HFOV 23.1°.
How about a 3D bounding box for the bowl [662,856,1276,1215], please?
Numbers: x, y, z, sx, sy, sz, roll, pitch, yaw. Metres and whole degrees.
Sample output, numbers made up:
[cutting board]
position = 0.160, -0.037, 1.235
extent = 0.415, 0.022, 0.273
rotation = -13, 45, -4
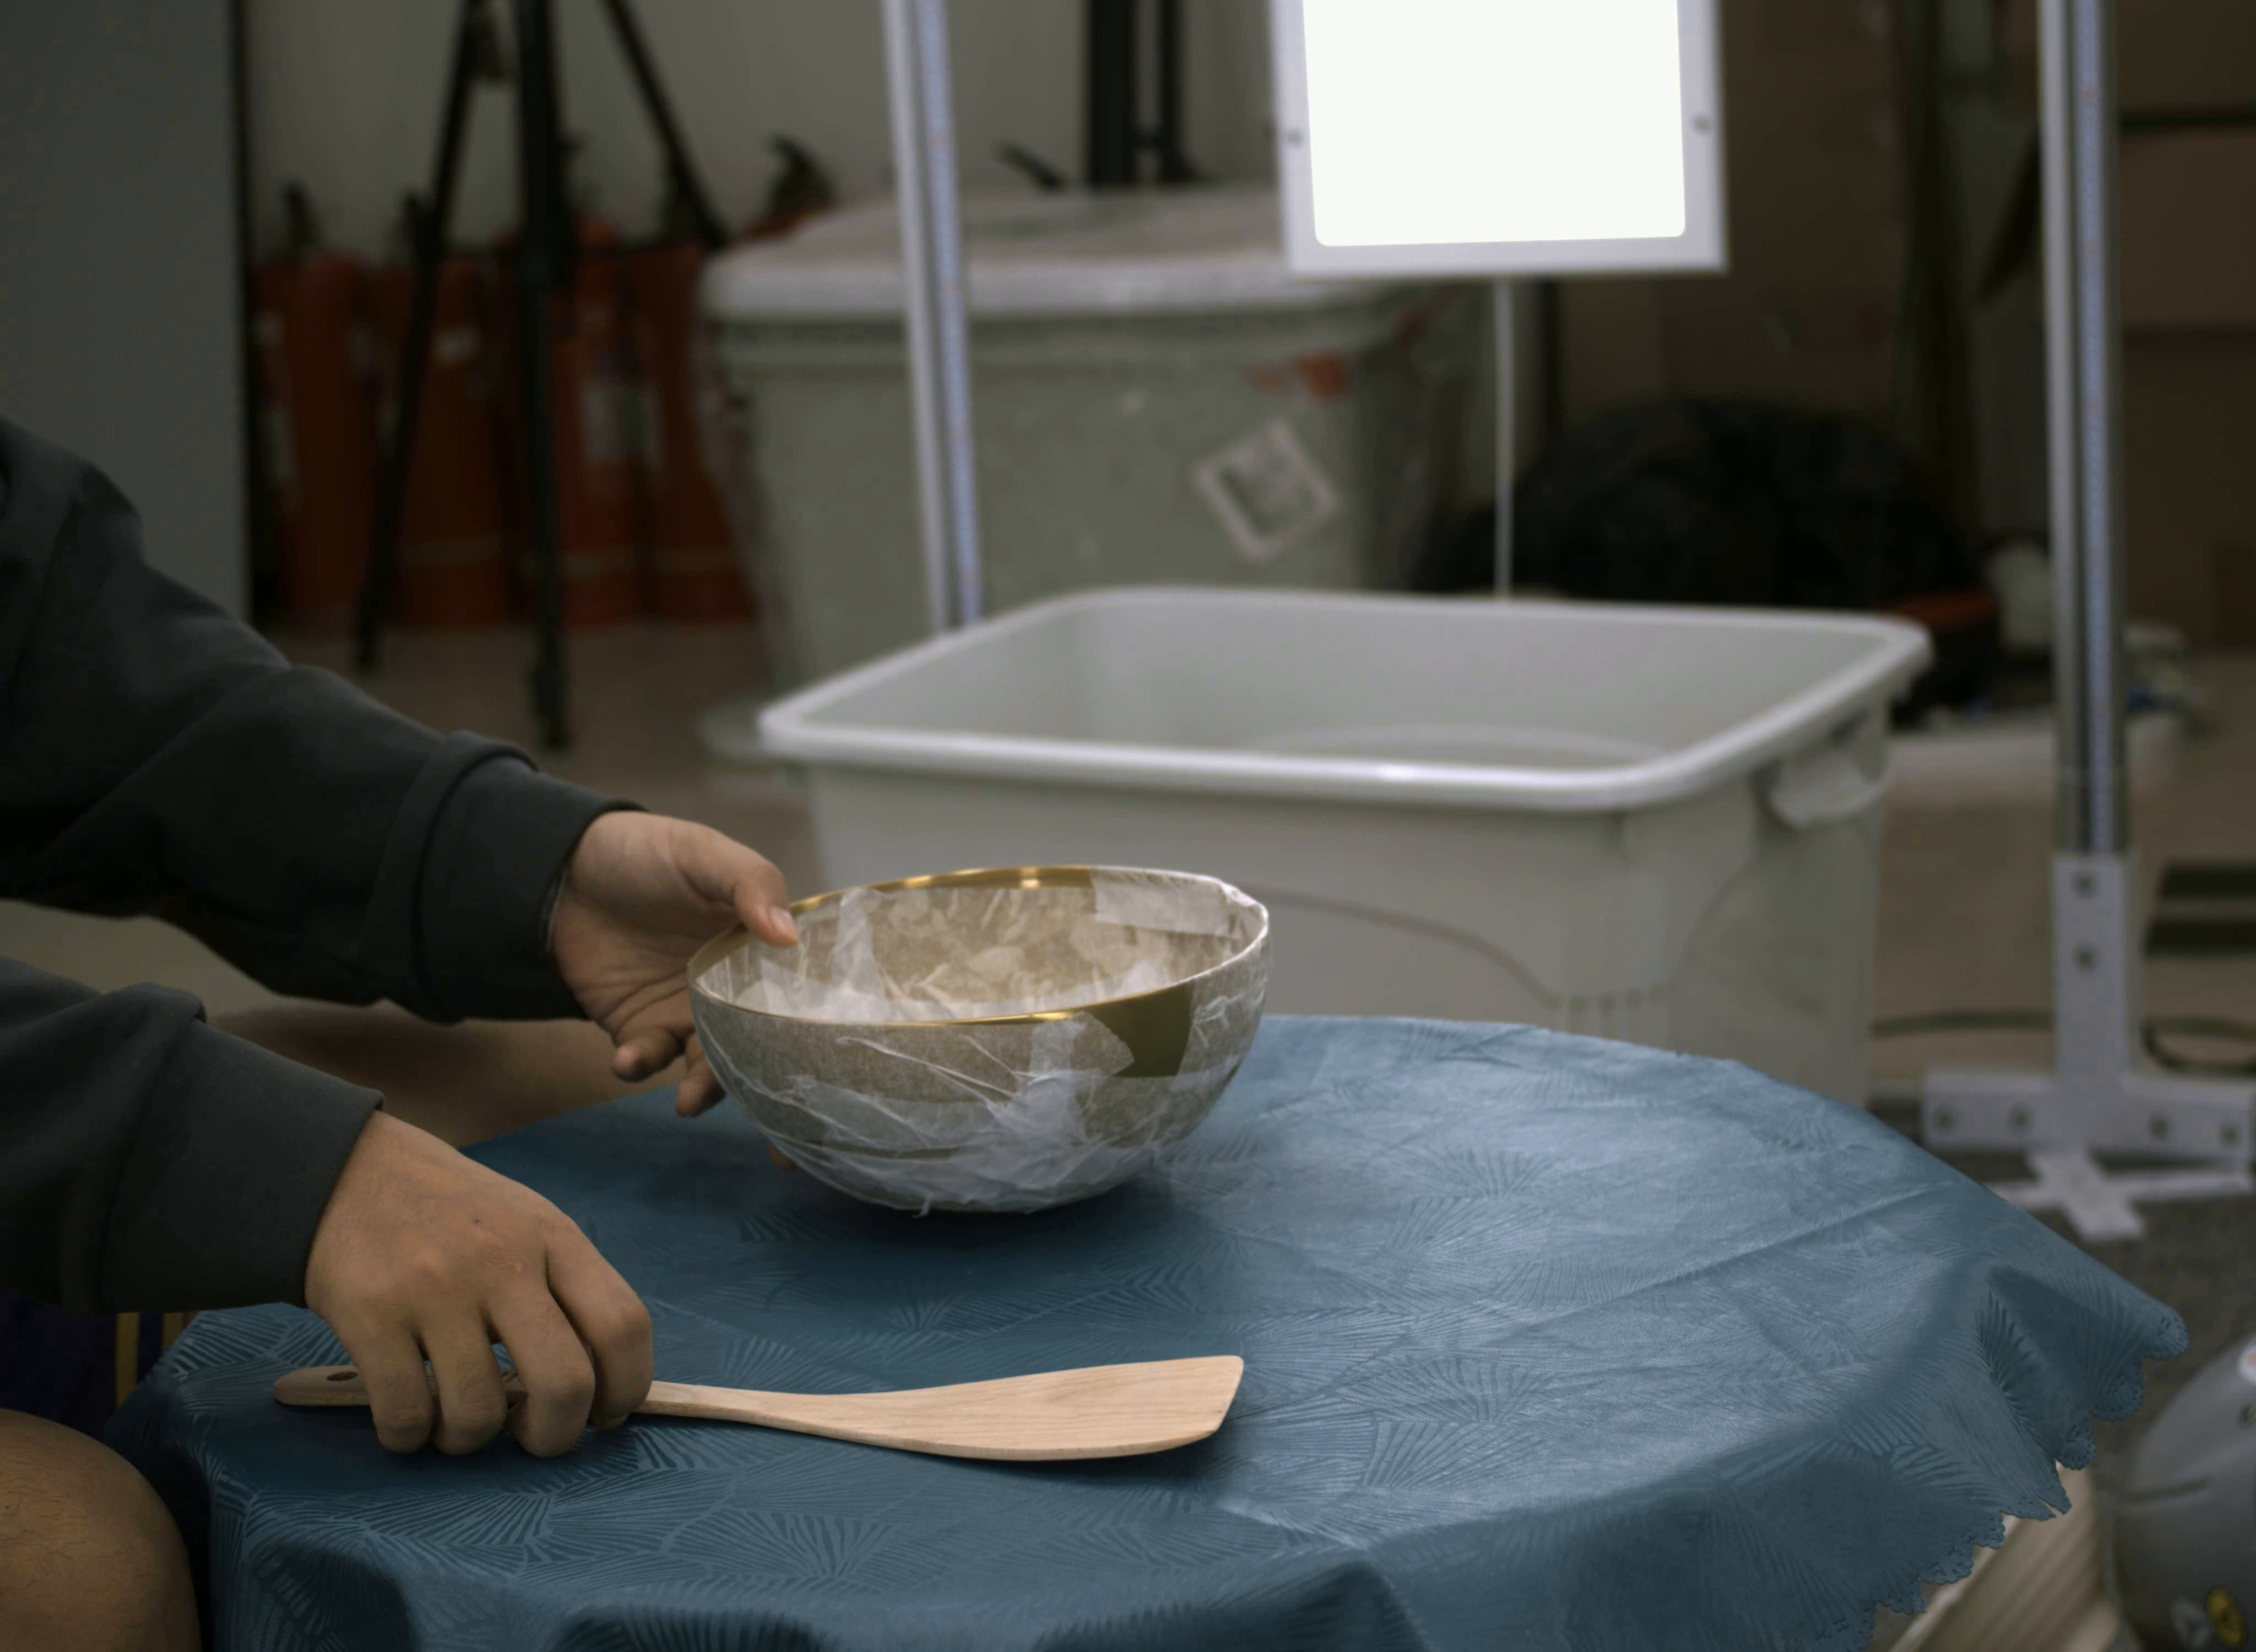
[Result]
[bowl]
position = -0.052, 0.080, 1.903
extent = 0.214, 0.095, 0.214
rotation = -5, 14, 0

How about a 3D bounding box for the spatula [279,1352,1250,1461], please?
[spatula]
position = -0.115, 0.175, 1.707
extent = 0.332, 0.016, 0.078
rotation = 0, 15, 22
